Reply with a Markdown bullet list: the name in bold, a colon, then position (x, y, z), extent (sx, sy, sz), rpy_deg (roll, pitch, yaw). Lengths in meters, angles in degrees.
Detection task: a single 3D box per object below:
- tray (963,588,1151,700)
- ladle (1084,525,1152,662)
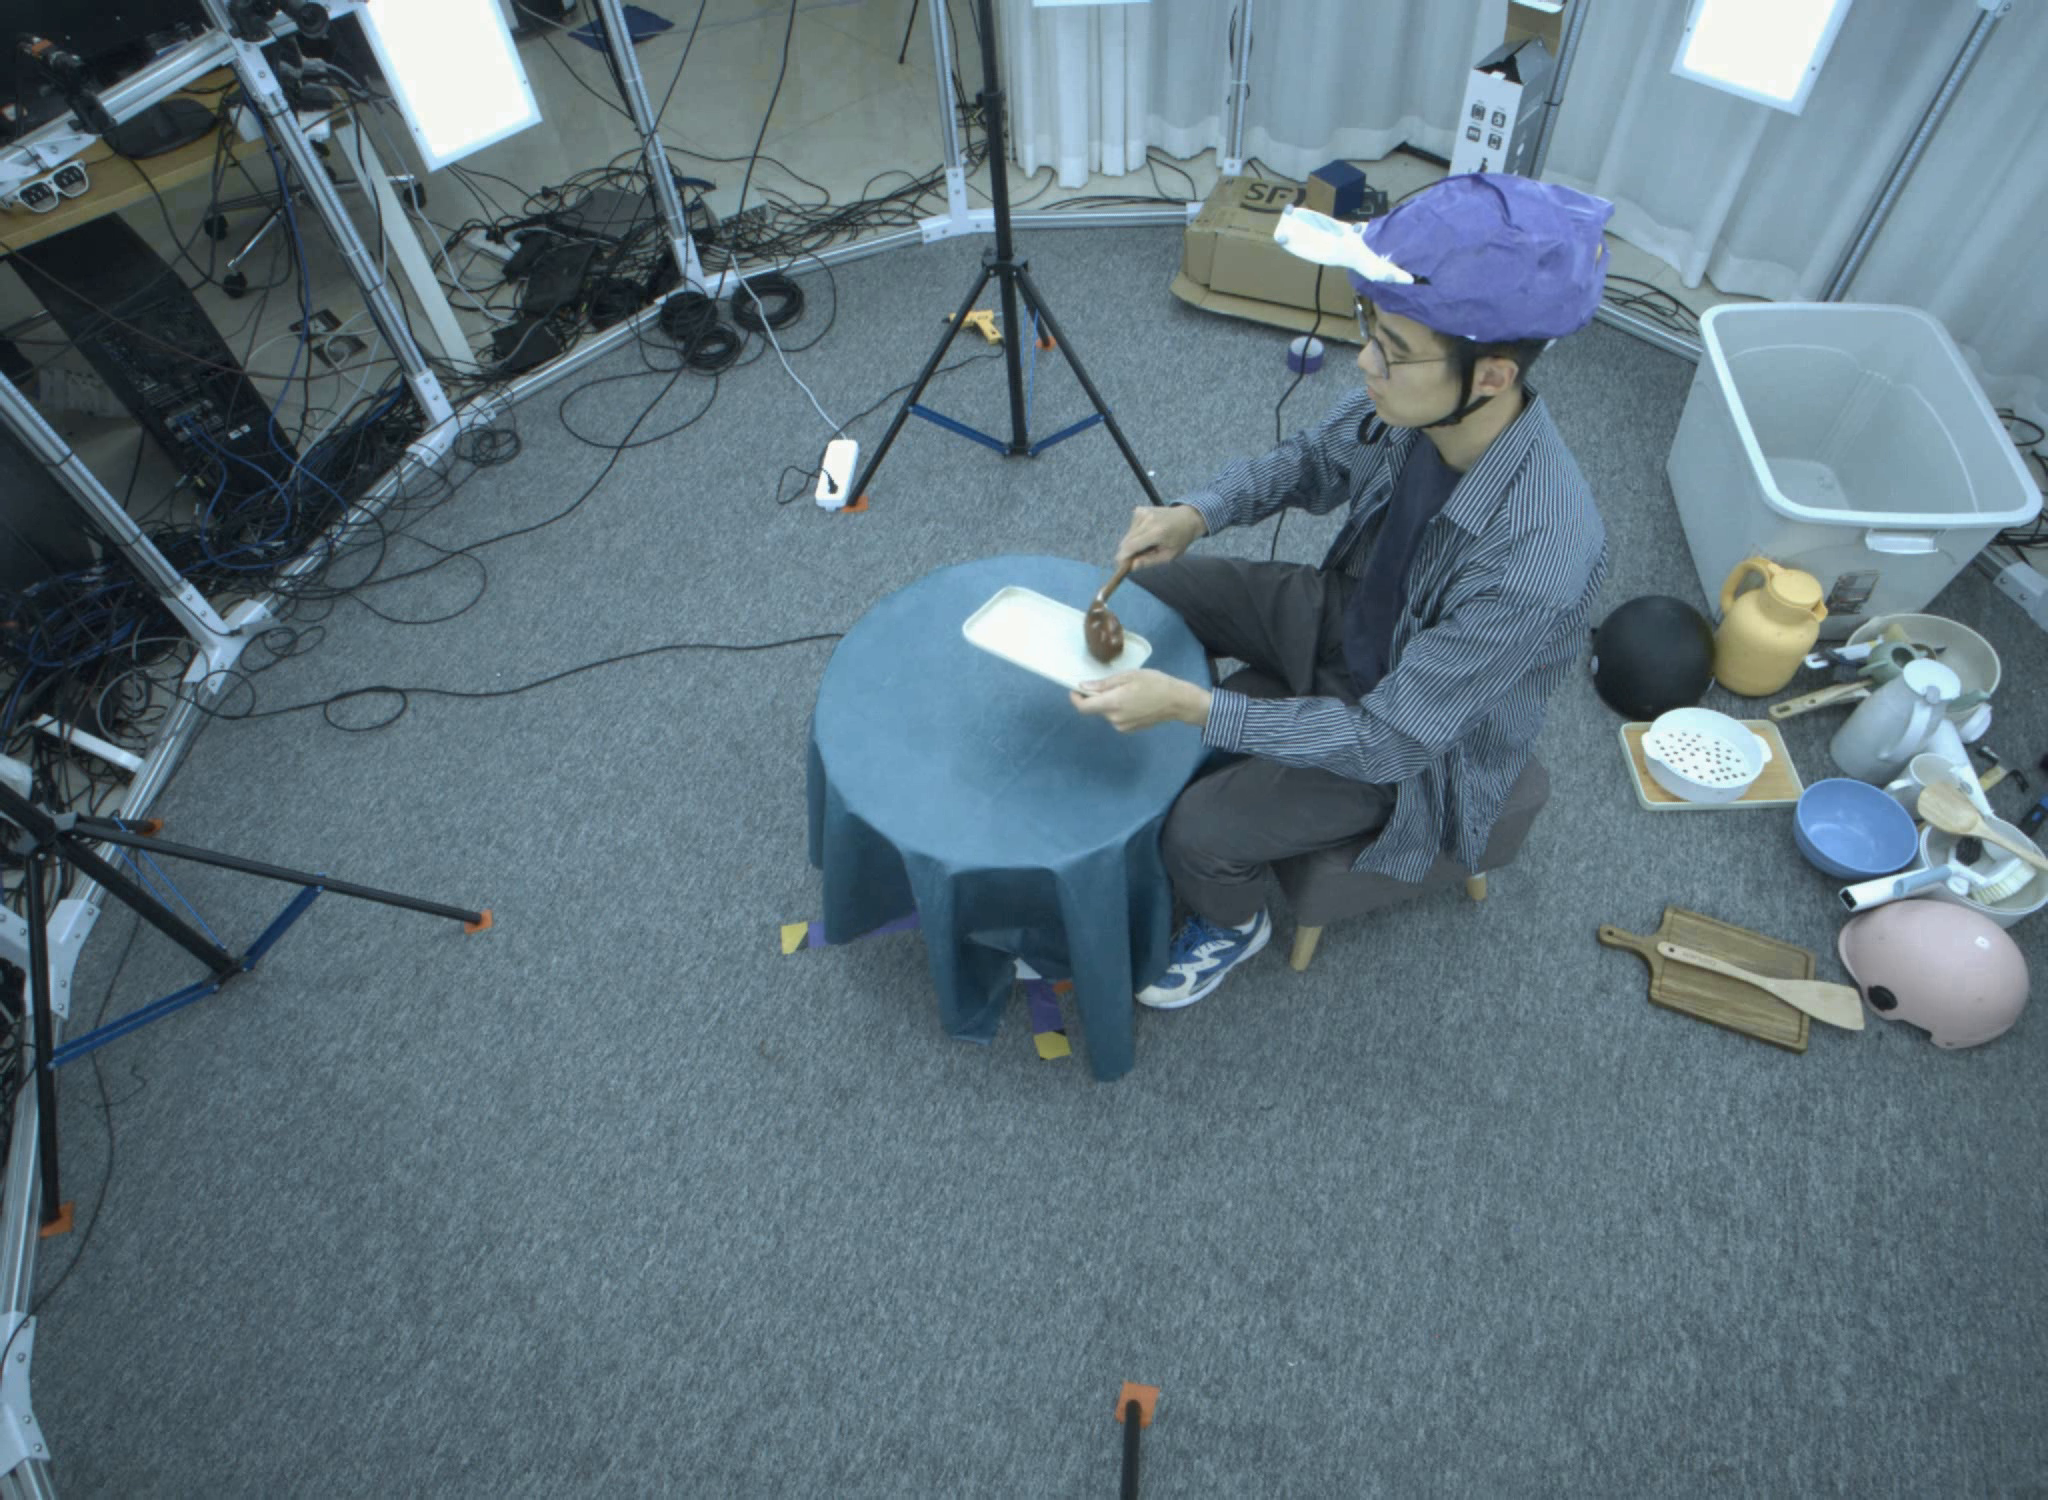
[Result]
- **tray**: position (0.046, -0.149, 1.710), extent (0.237, 0.017, 0.172), rpy_deg (25, 40, 12)
- **ladle**: position (0.156, -0.230, 1.752), extent (0.076, 0.082, 0.274), rpy_deg (30, 51, 4)
